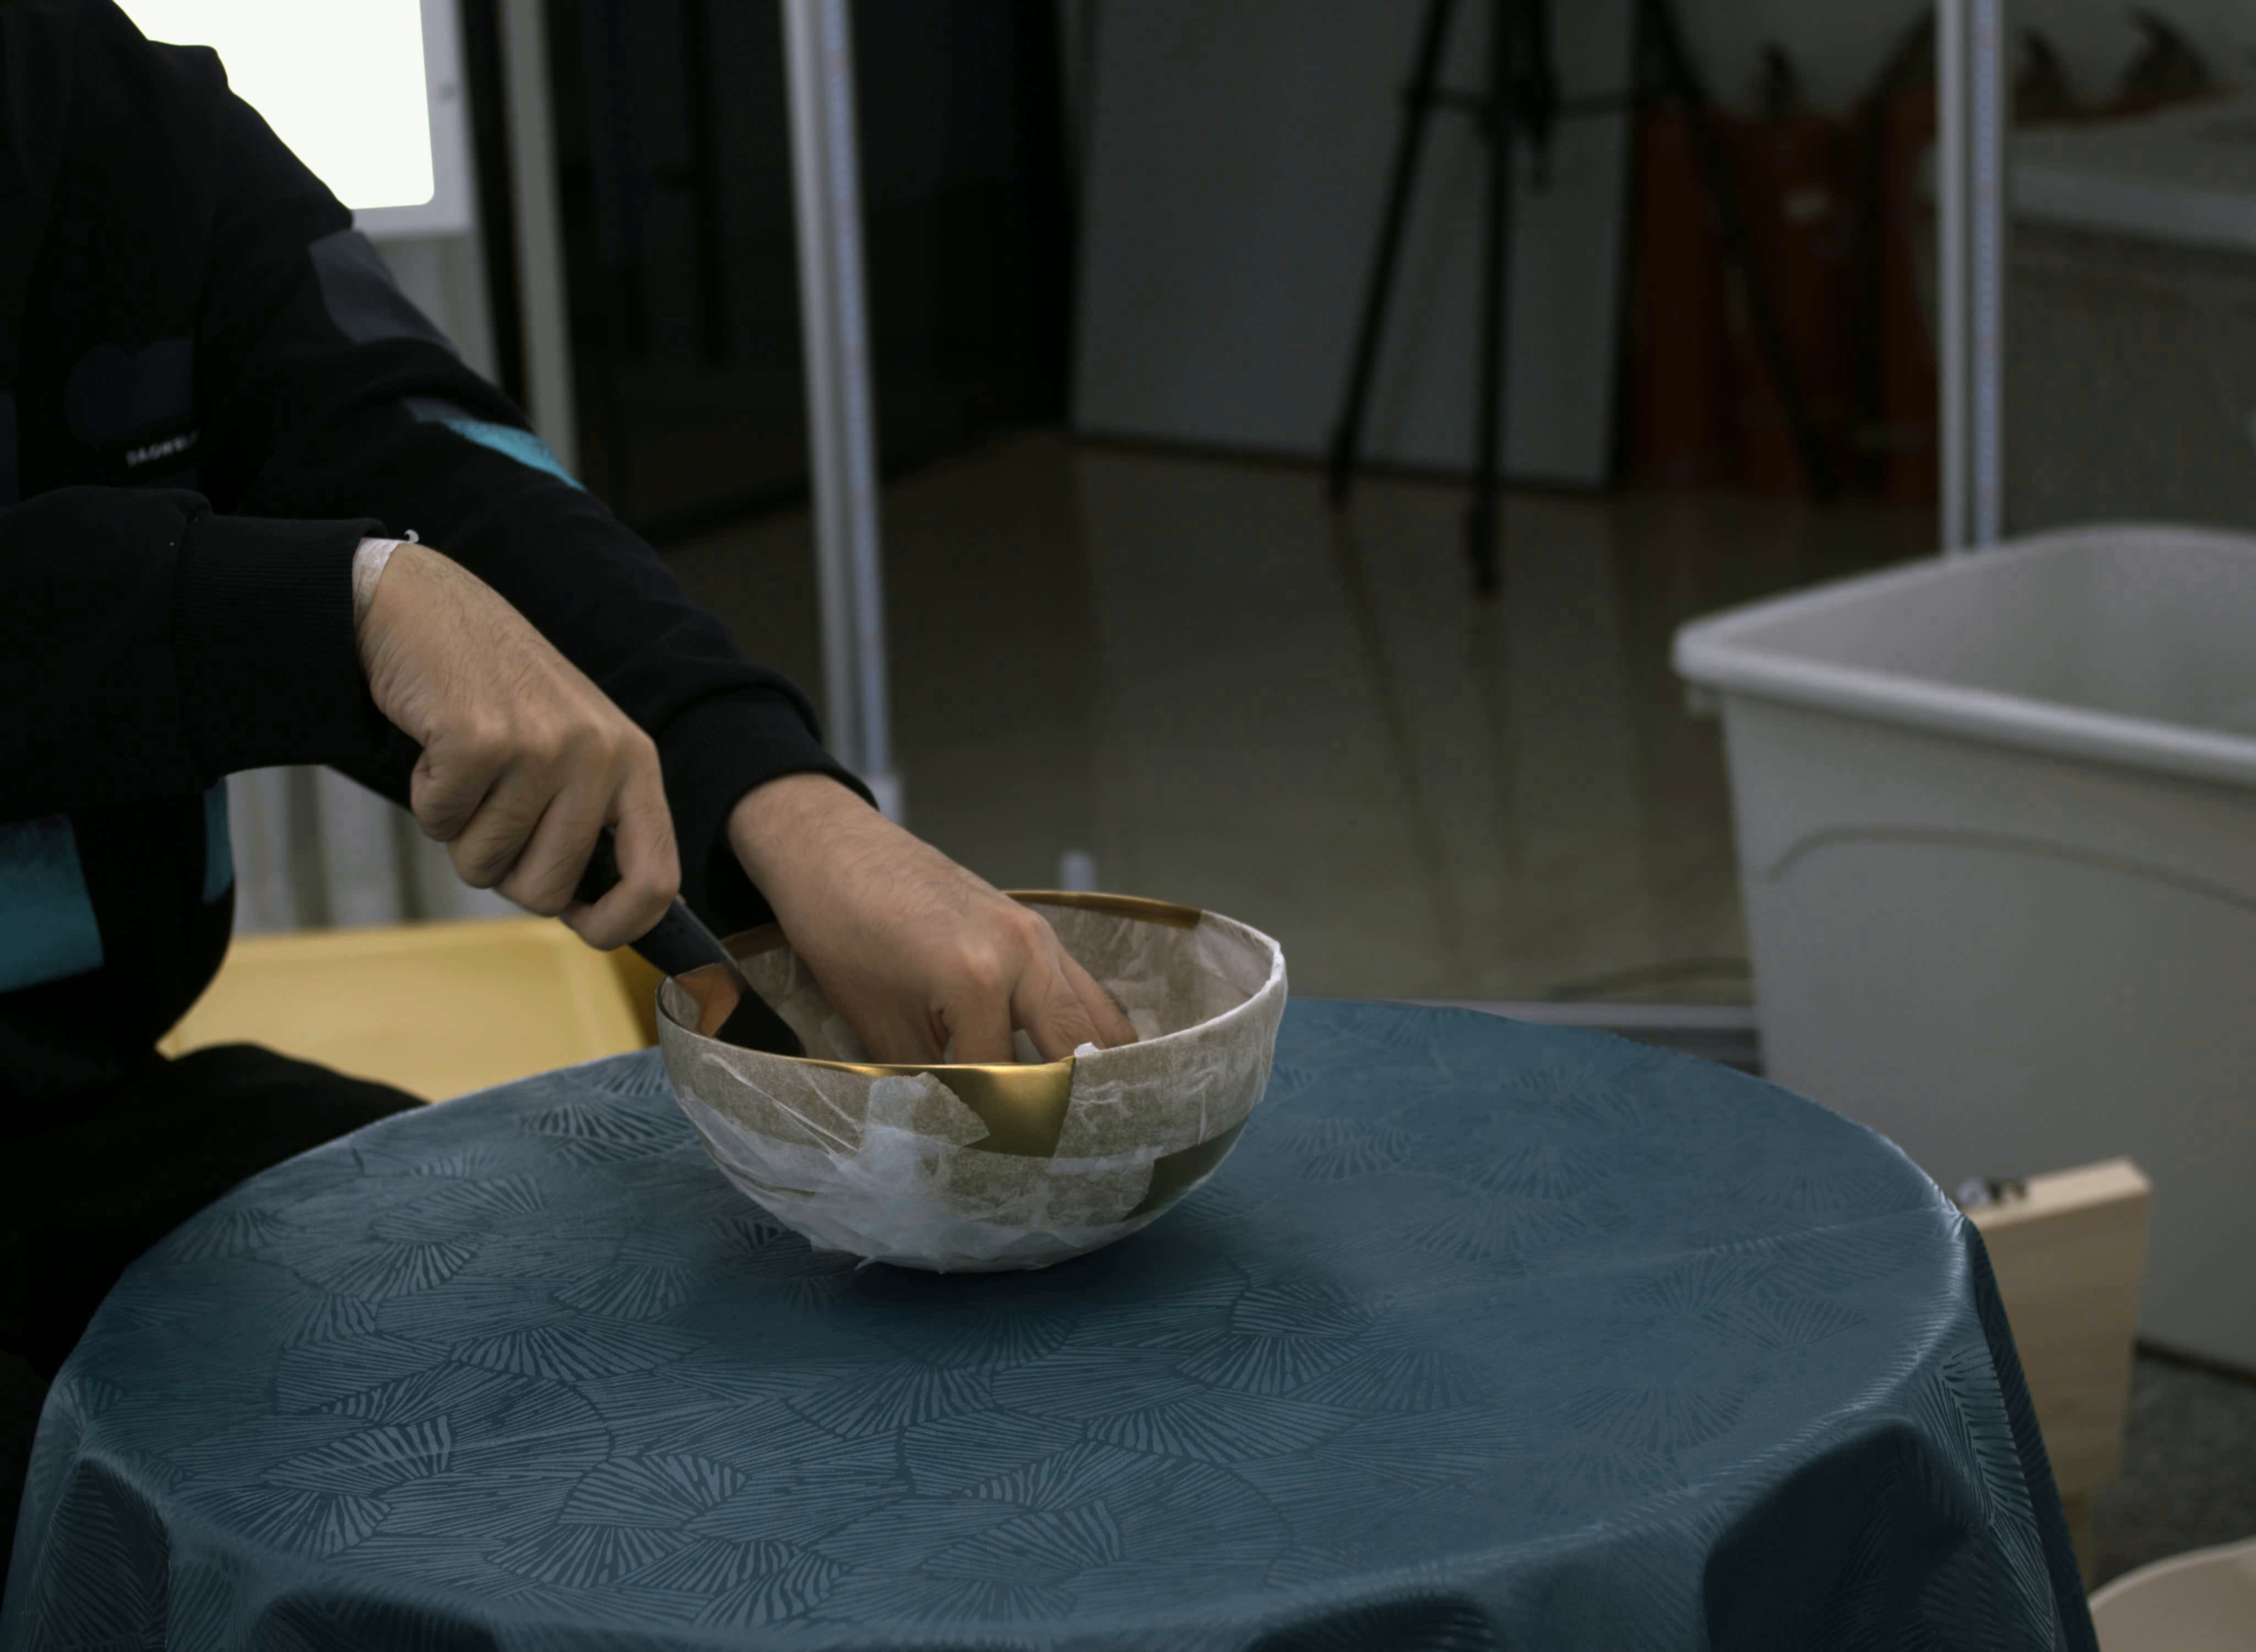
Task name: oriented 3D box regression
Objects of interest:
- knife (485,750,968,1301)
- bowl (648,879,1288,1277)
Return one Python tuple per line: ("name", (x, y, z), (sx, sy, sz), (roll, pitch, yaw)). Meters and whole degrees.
("knife", (-0.124, 0.063, 1.706), (0.026, 0.226, 0.017), (-44, -3, 18))
("bowl", (-0.050, 0.088, 1.721), (0.212, 0.095, 0.215), (-4, 15, 0))
